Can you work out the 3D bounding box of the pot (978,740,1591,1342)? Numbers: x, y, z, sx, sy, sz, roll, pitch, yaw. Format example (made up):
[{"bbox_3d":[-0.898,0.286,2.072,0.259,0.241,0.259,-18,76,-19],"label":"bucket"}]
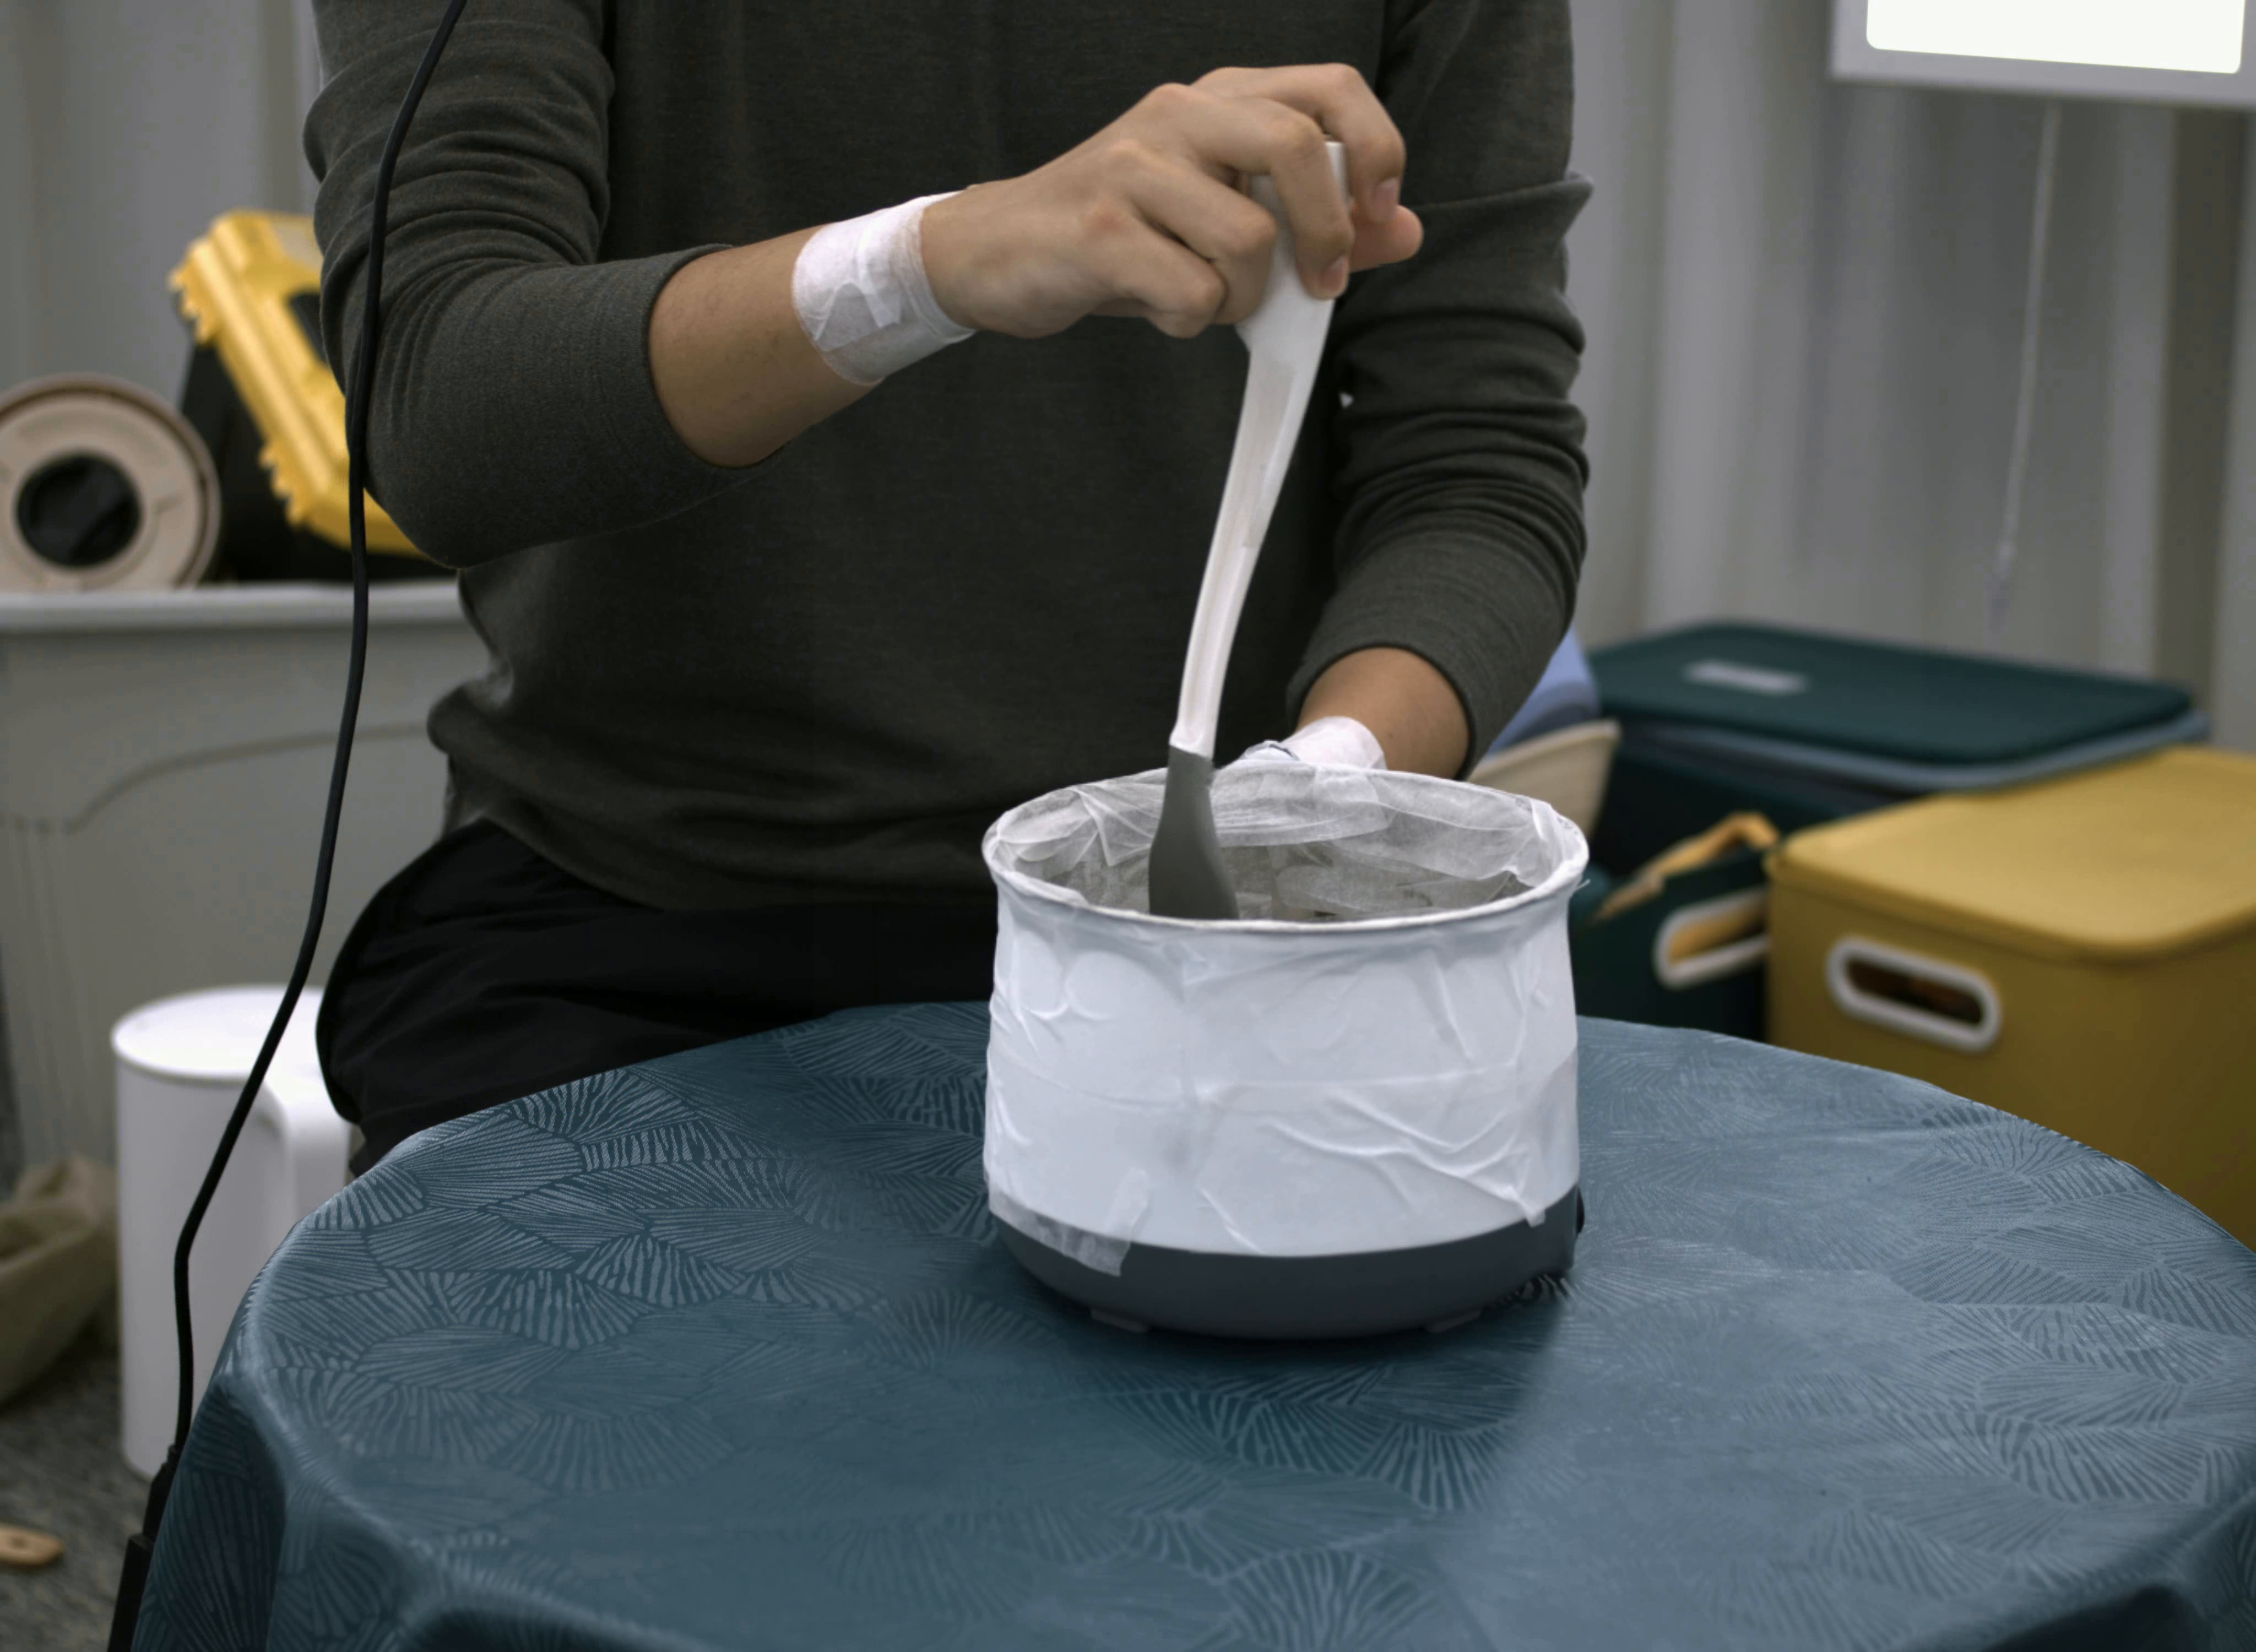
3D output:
[{"bbox_3d":[0.044,0.058,1.566,0.178,0.138,0.232,0,15,-3],"label":"pot"}]

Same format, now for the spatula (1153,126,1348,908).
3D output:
[{"bbox_3d":[0.032,-0.058,1.531,0.032,0.289,0.058,-1,13,-32],"label":"spatula"}]
